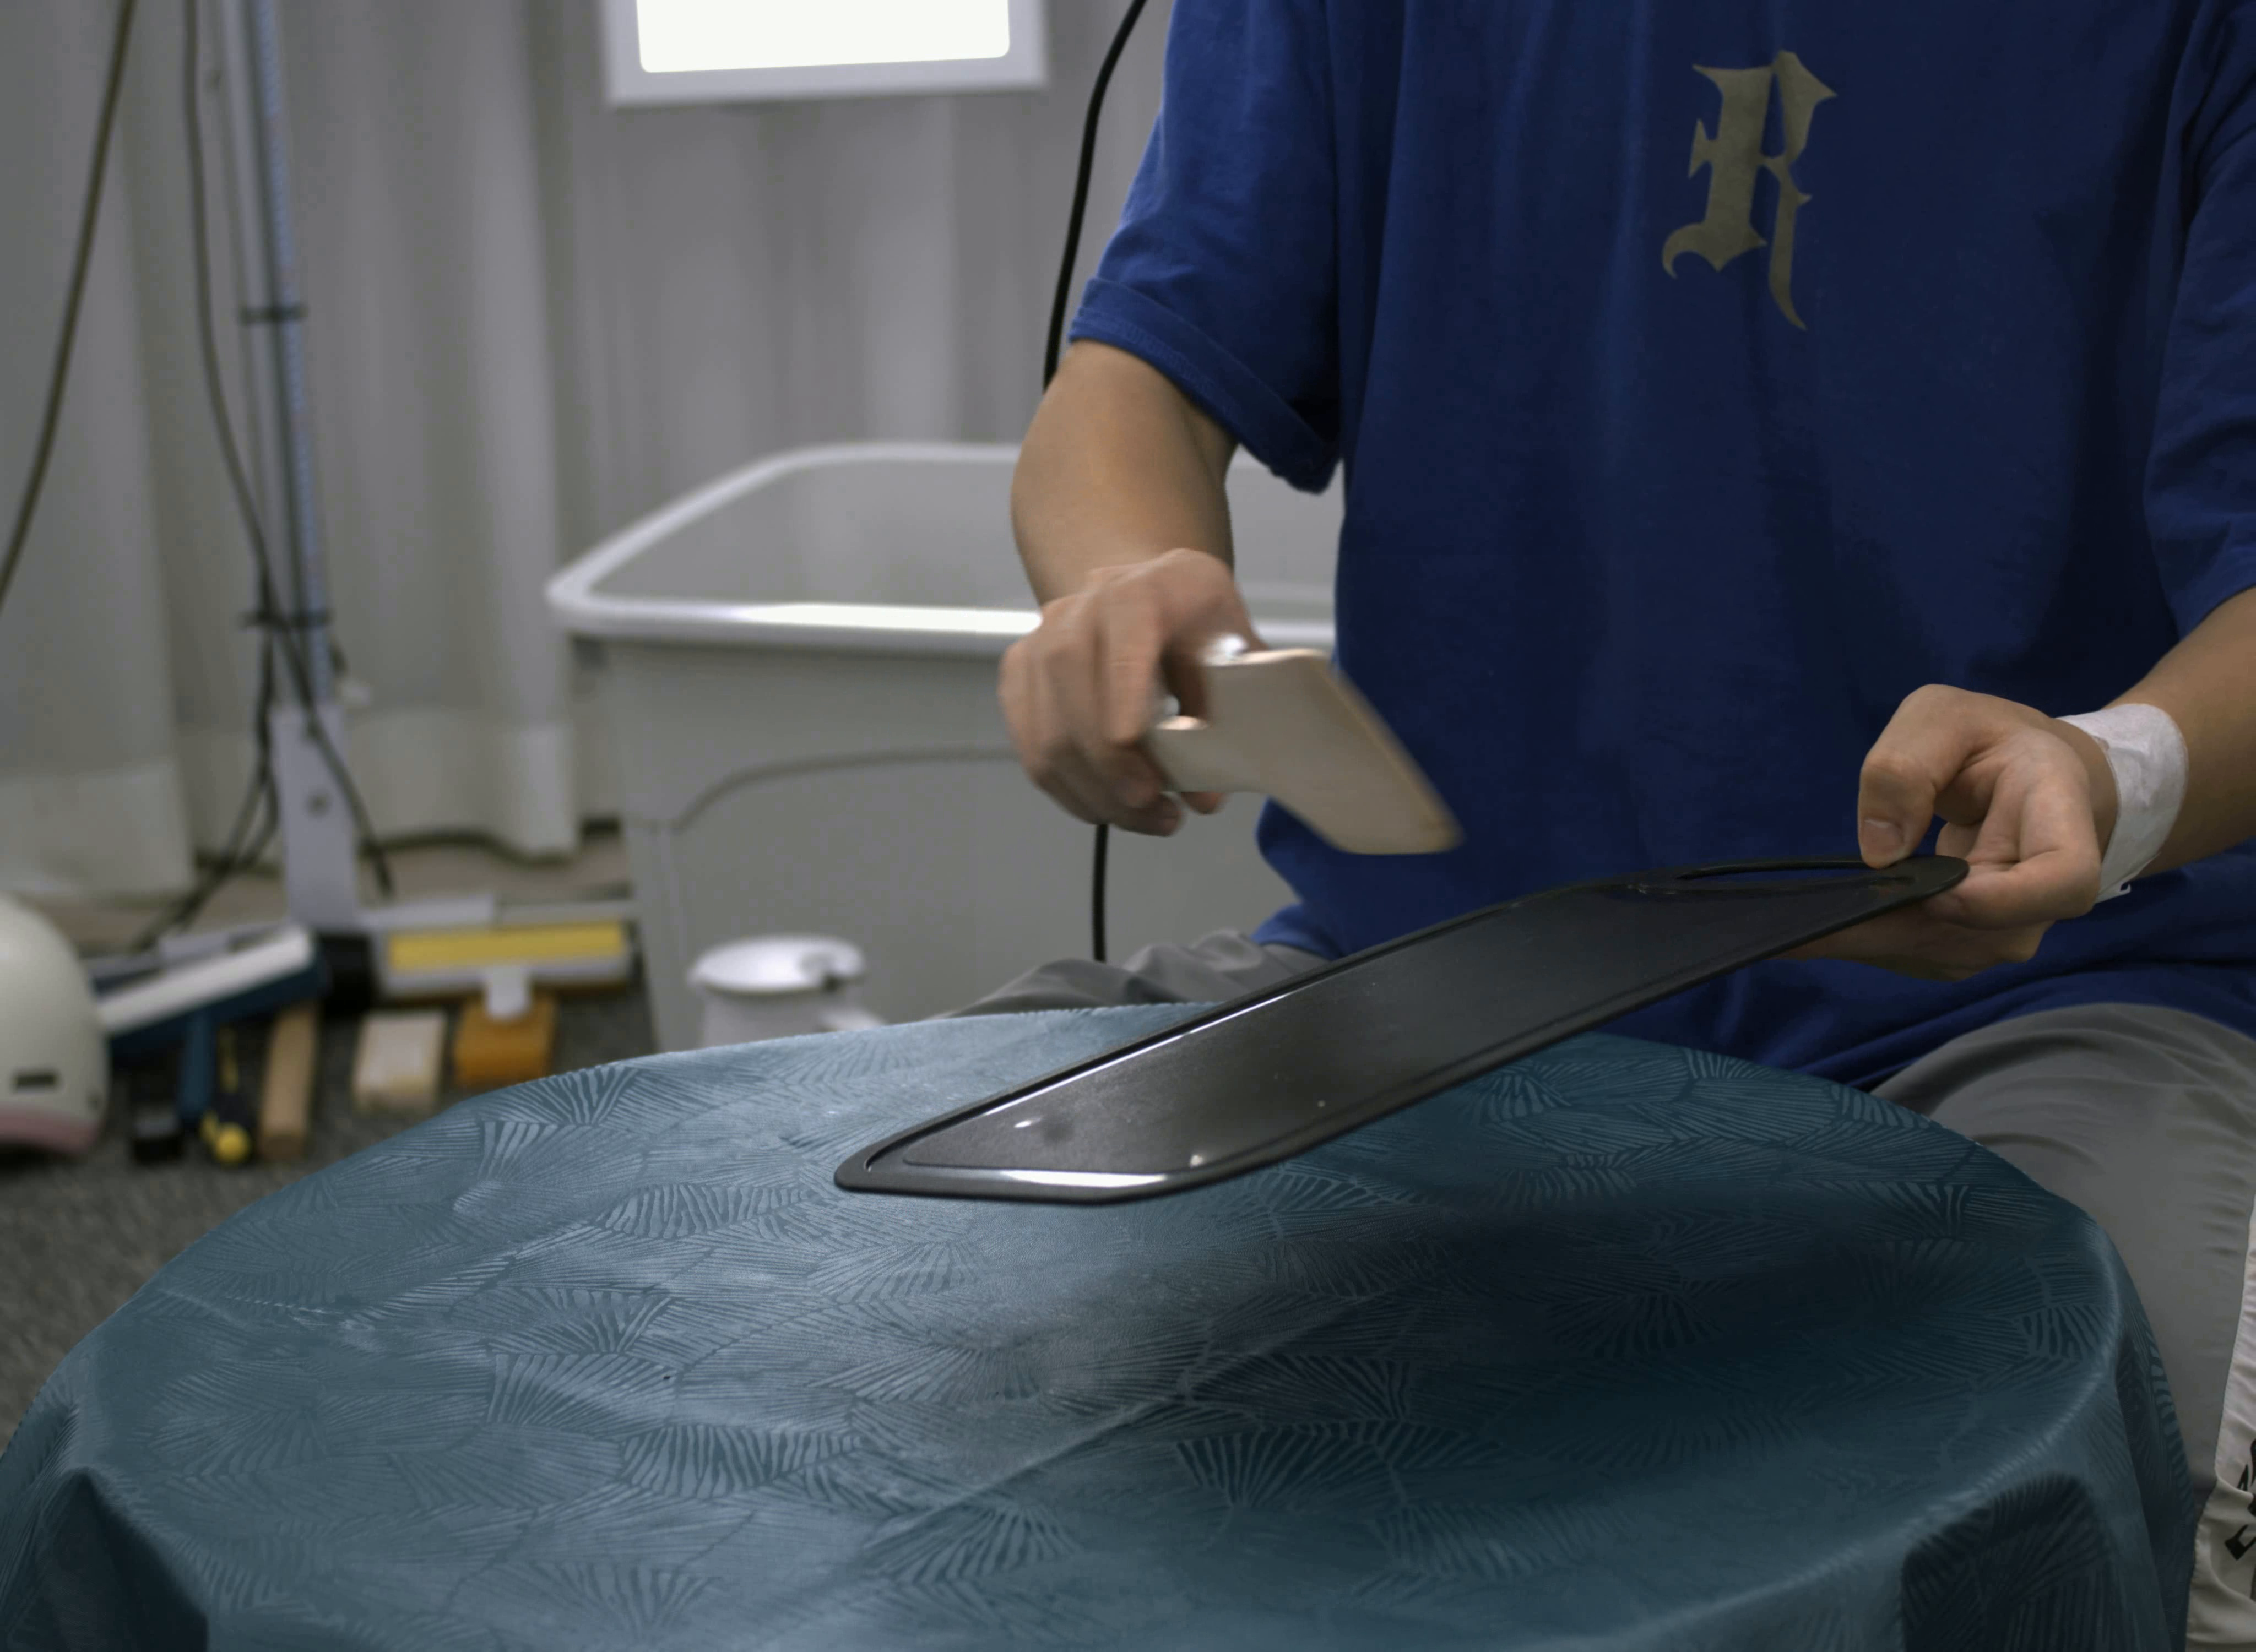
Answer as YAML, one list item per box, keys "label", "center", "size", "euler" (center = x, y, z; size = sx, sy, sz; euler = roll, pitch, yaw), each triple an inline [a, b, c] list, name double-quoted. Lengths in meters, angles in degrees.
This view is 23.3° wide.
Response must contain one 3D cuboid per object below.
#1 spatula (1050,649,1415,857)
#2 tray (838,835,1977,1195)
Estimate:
- label: "spatula"
  center: [0.019, -0.022, 1.632]
  size: [0.010, 0.072, 0.293]
  euler: [-40, 10, -11]
- label: "tray"
  center: [0.086, 0.050, 1.563]
  size: [0.325, 0.010, 0.211]
  euler: [-19, 8, -30]
